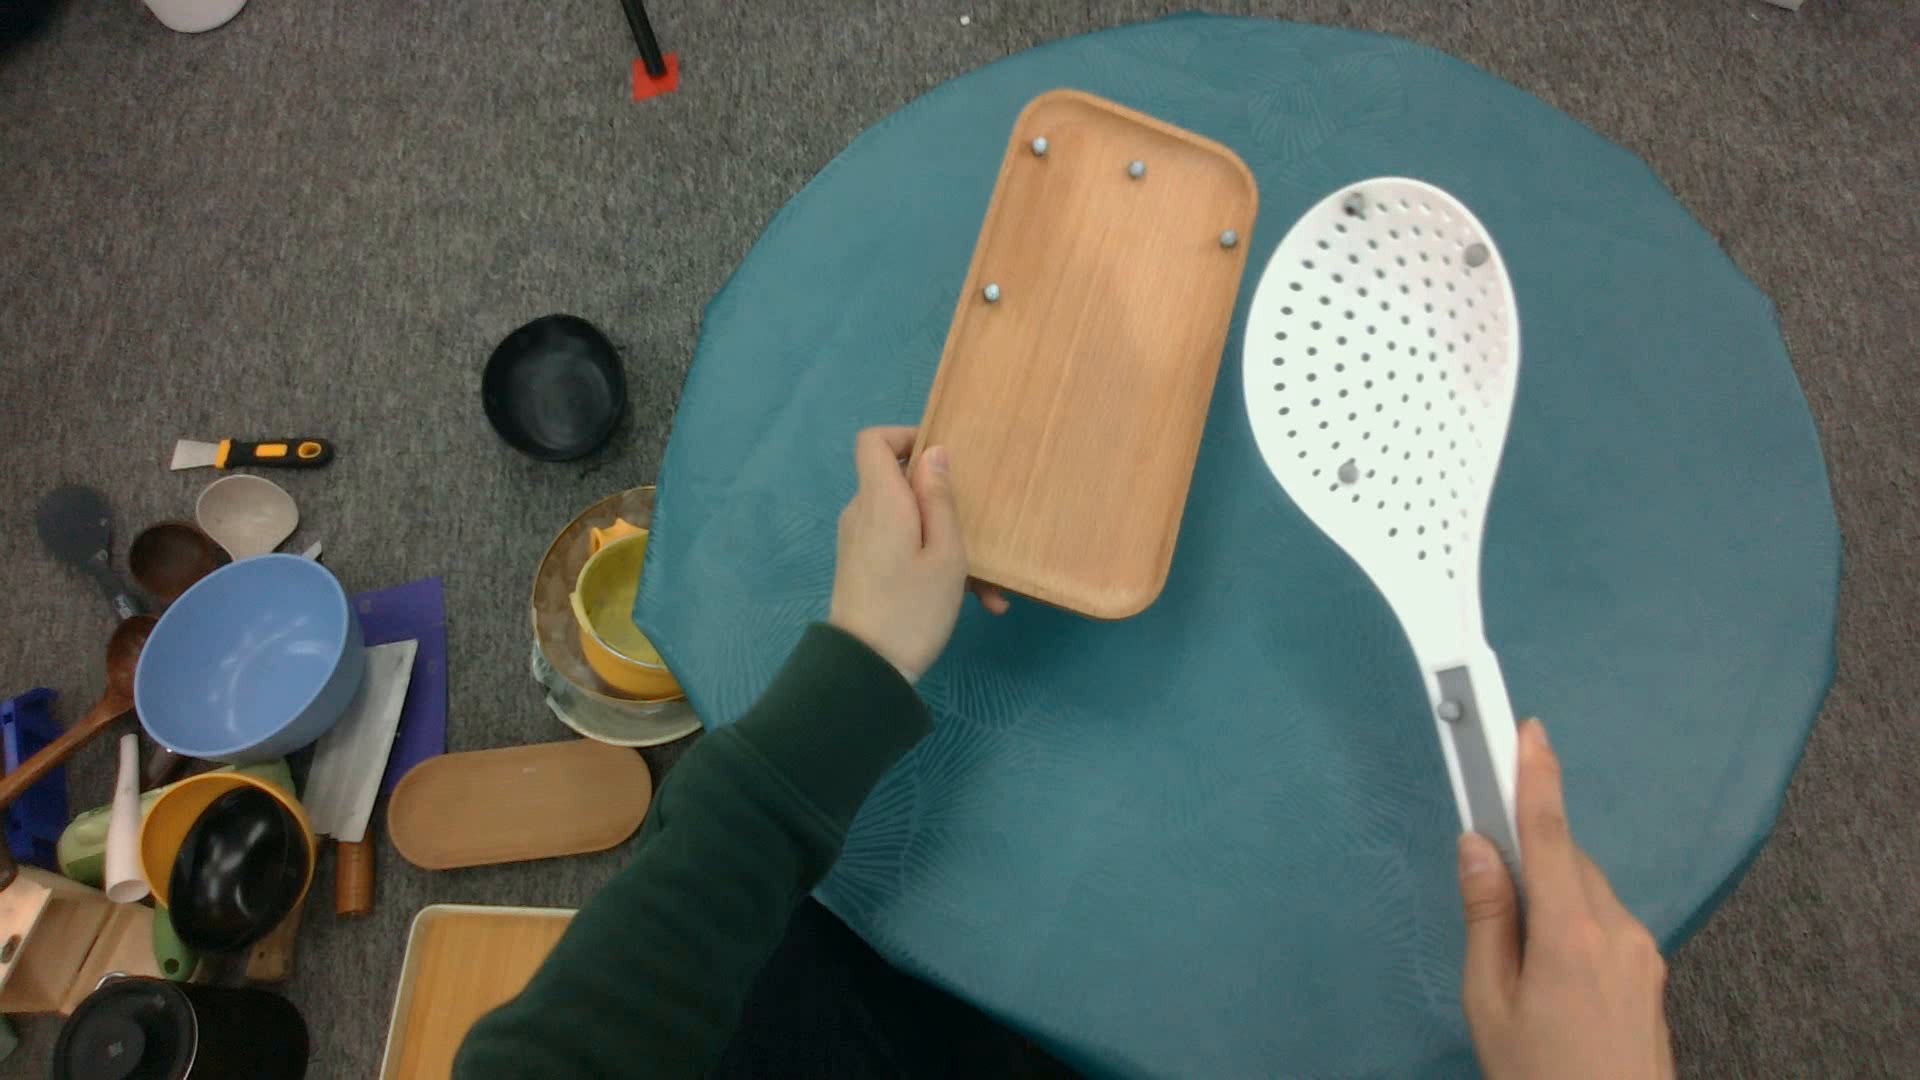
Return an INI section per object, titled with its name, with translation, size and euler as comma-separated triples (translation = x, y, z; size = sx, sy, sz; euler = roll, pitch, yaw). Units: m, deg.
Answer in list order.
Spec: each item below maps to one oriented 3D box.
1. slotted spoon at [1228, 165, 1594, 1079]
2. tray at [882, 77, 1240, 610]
[slotted spoon]
translation = 0.180, 0.025, 0.526
size = 0.046, 0.135, 0.350
euler = -1, 76, -28
[tray]
translation = 0.051, -0.096, 0.644
size = 0.130, 0.023, 0.251
euler = 18, 74, -5
